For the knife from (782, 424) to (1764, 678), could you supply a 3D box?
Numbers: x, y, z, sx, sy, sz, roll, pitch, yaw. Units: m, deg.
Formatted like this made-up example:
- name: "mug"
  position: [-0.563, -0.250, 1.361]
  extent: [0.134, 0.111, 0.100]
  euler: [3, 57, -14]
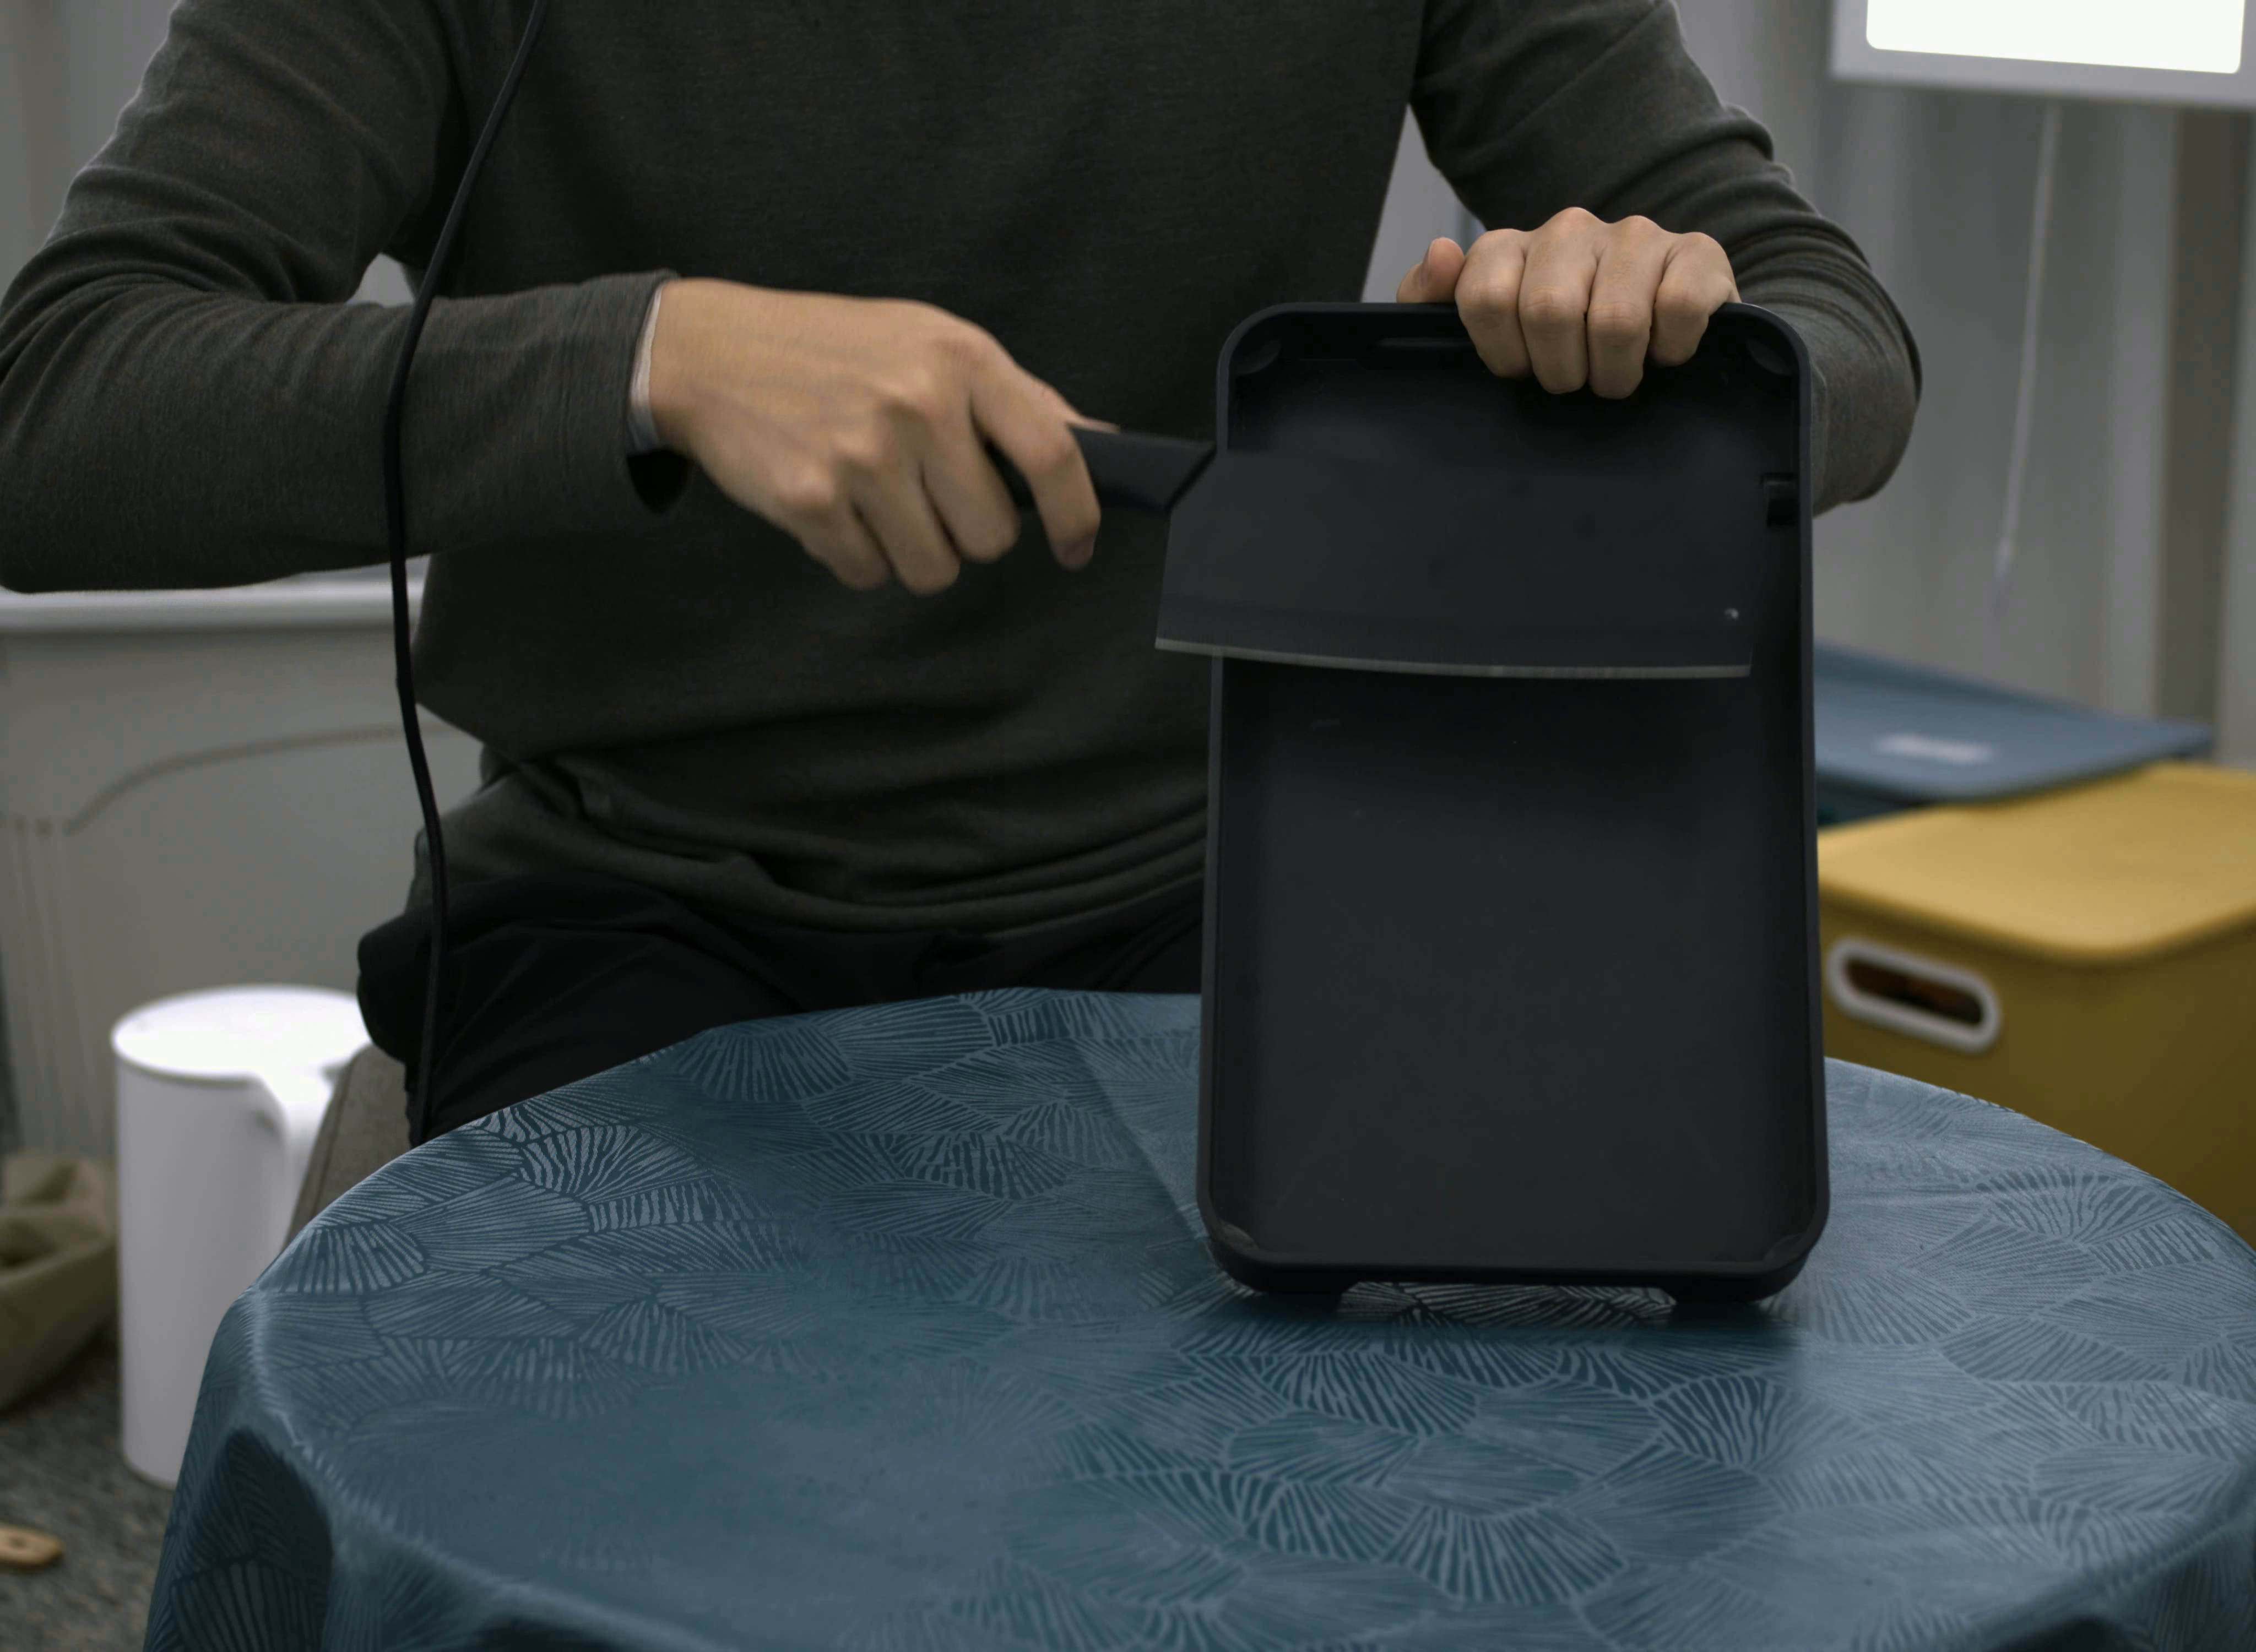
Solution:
- name: "knife"
  position: [0.042, -0.085, 1.593]
  extent: [0.300, 0.081, 0.021]
  euler: [9, -19, 10]

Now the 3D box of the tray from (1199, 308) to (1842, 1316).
- name: "tray"
  position: [0.114, -0.007, 1.580]
  extent: [0.183, 0.316, 0.037]
  euler: [-1, -23, 1]
